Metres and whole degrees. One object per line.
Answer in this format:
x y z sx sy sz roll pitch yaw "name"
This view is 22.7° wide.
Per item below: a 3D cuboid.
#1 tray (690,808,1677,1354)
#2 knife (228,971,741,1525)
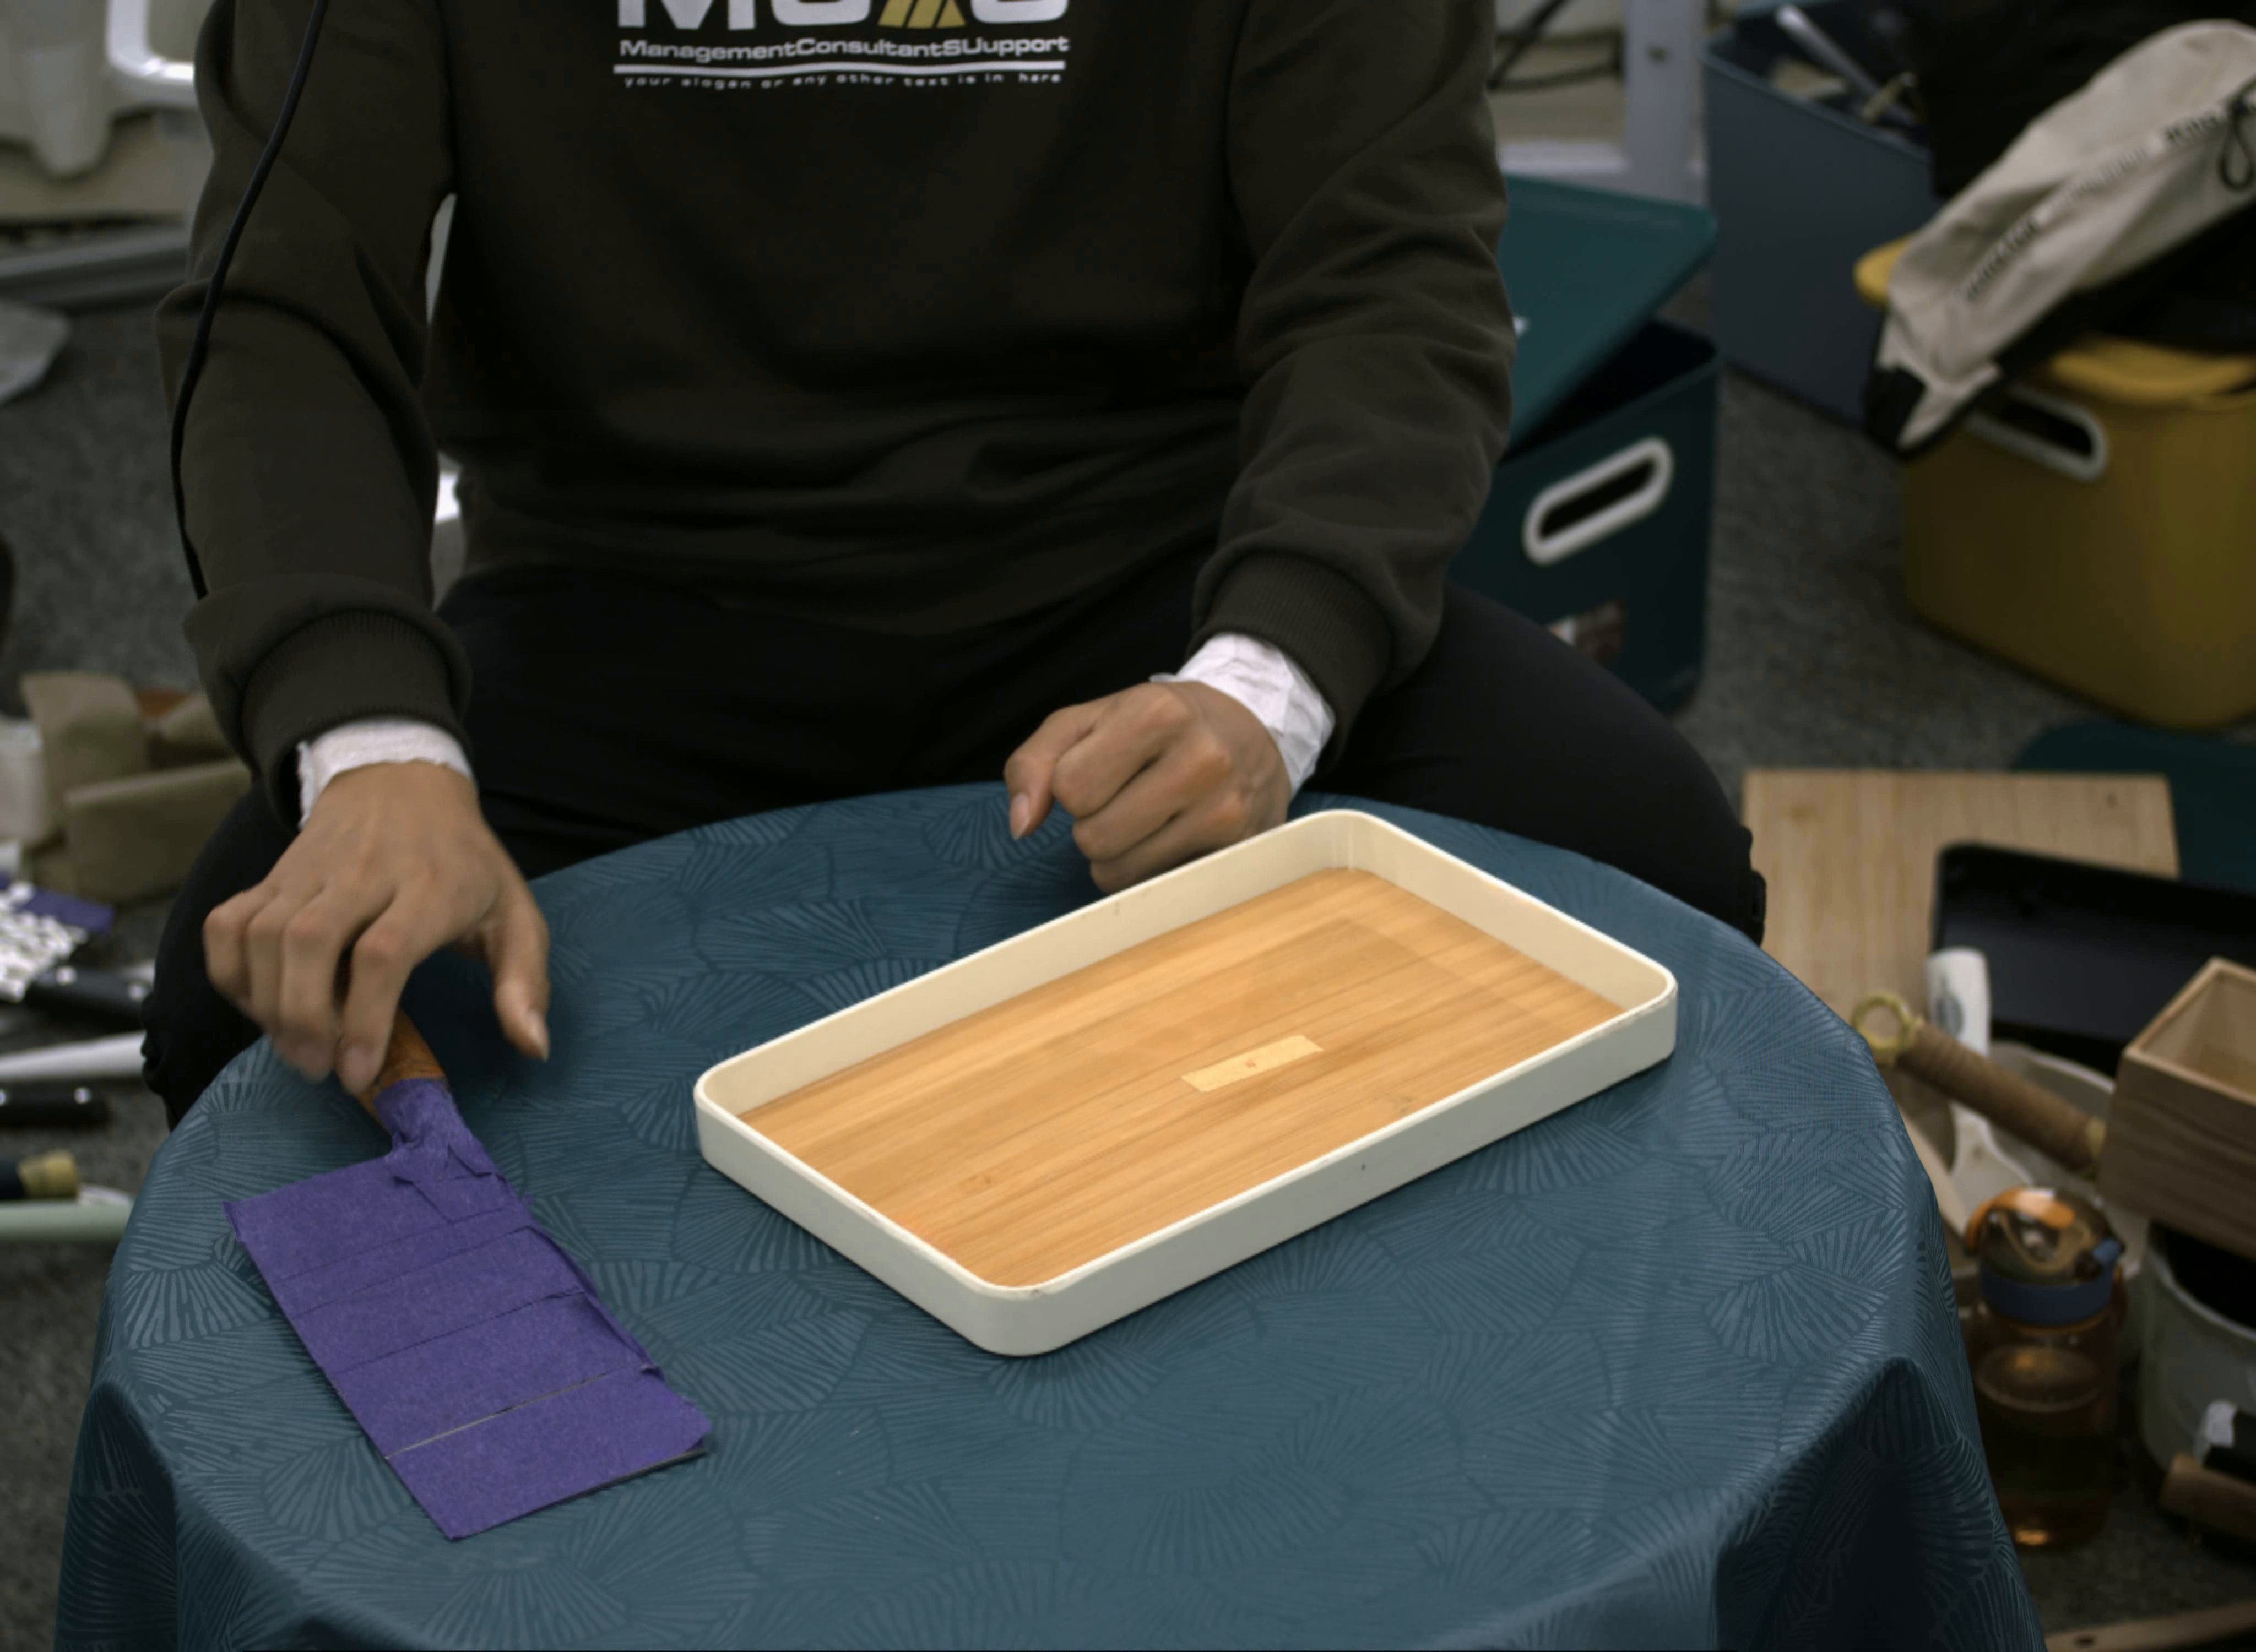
0.021 0.081 1.909 0.303 0.027 0.192 -22 33 -33 "tray"
-0.237 0.133 1.832 0.104 0.032 0.317 -16 30 -23 "knife"
